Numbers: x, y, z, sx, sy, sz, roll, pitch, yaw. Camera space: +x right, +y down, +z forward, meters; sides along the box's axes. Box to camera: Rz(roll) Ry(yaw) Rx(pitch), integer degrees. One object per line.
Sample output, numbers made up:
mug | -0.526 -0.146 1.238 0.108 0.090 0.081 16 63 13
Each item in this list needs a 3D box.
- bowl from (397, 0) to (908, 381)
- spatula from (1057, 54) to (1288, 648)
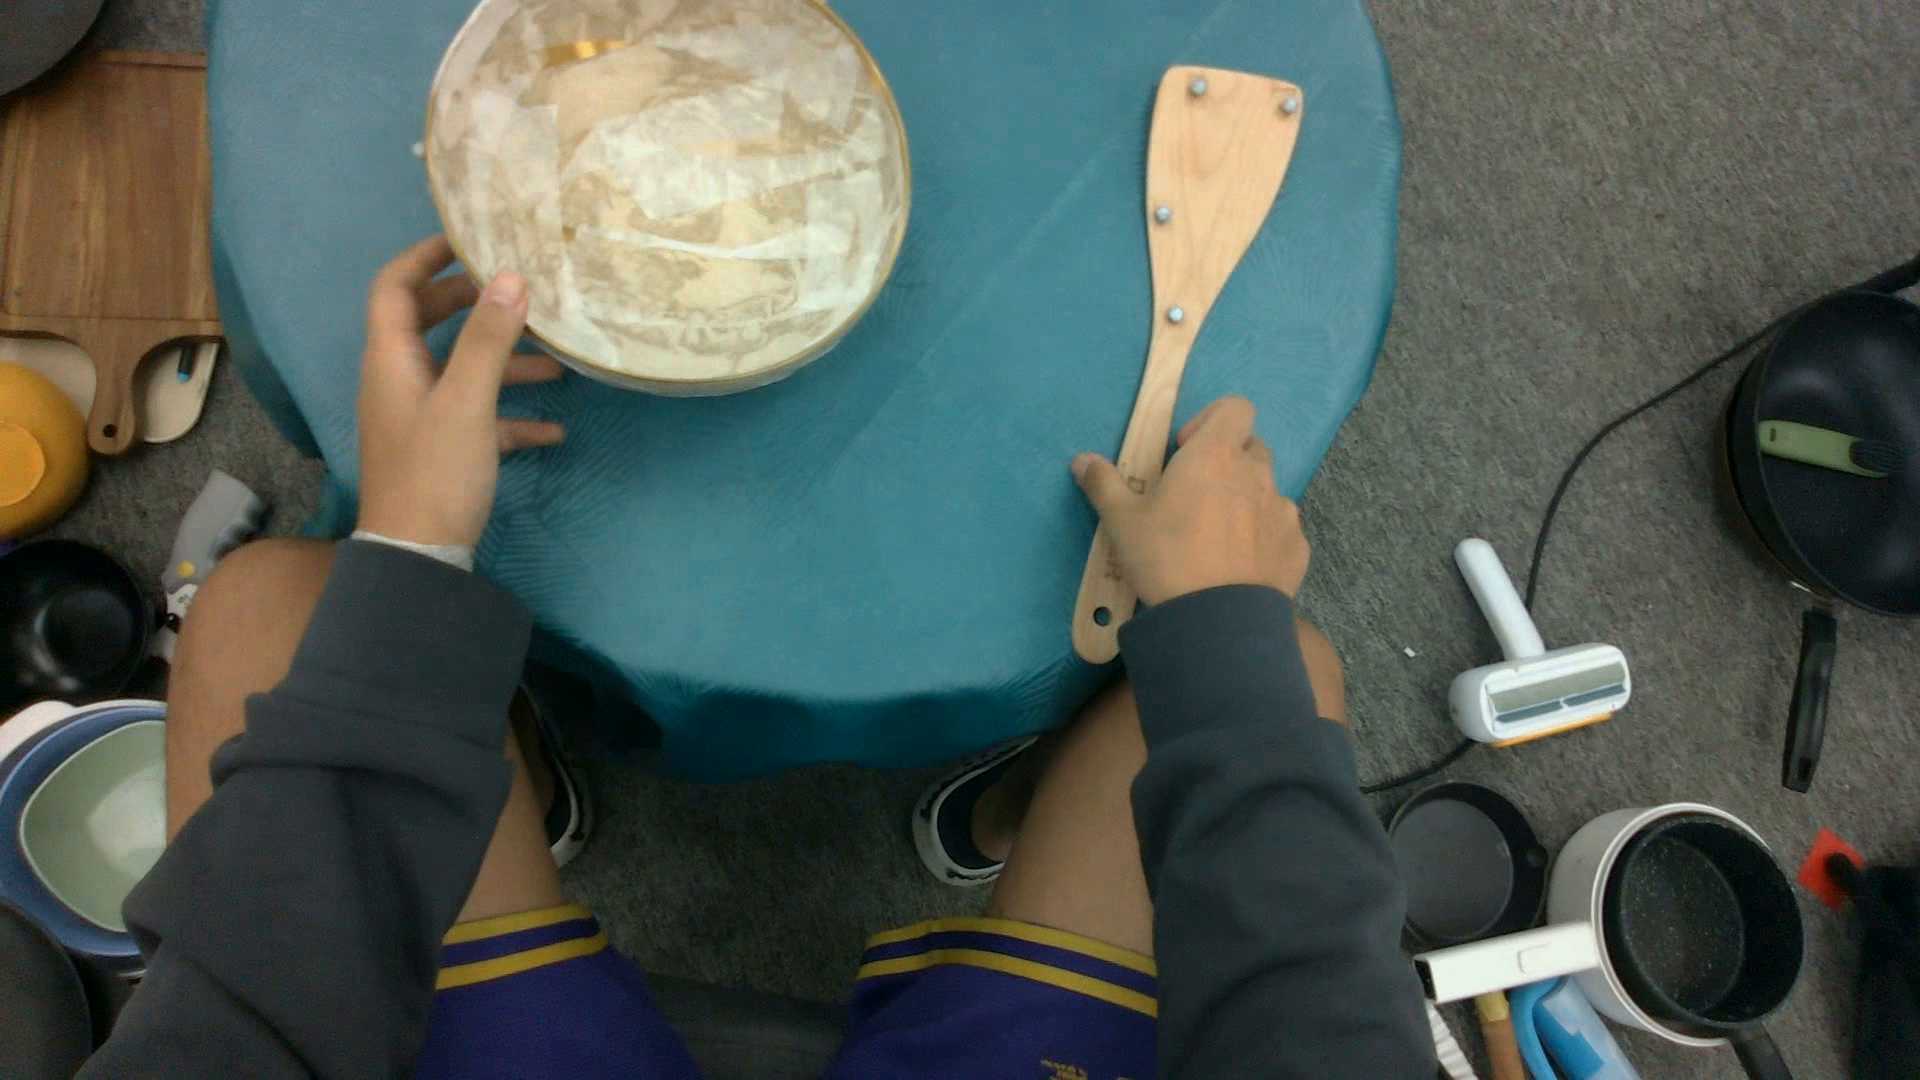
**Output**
bowl | -0.133 -0.155 0.618 0.215 0.094 0.215 3 76 -13
spatula | 0.098 -0.104 0.699 0.080 0.016 0.328 17 76 -9
